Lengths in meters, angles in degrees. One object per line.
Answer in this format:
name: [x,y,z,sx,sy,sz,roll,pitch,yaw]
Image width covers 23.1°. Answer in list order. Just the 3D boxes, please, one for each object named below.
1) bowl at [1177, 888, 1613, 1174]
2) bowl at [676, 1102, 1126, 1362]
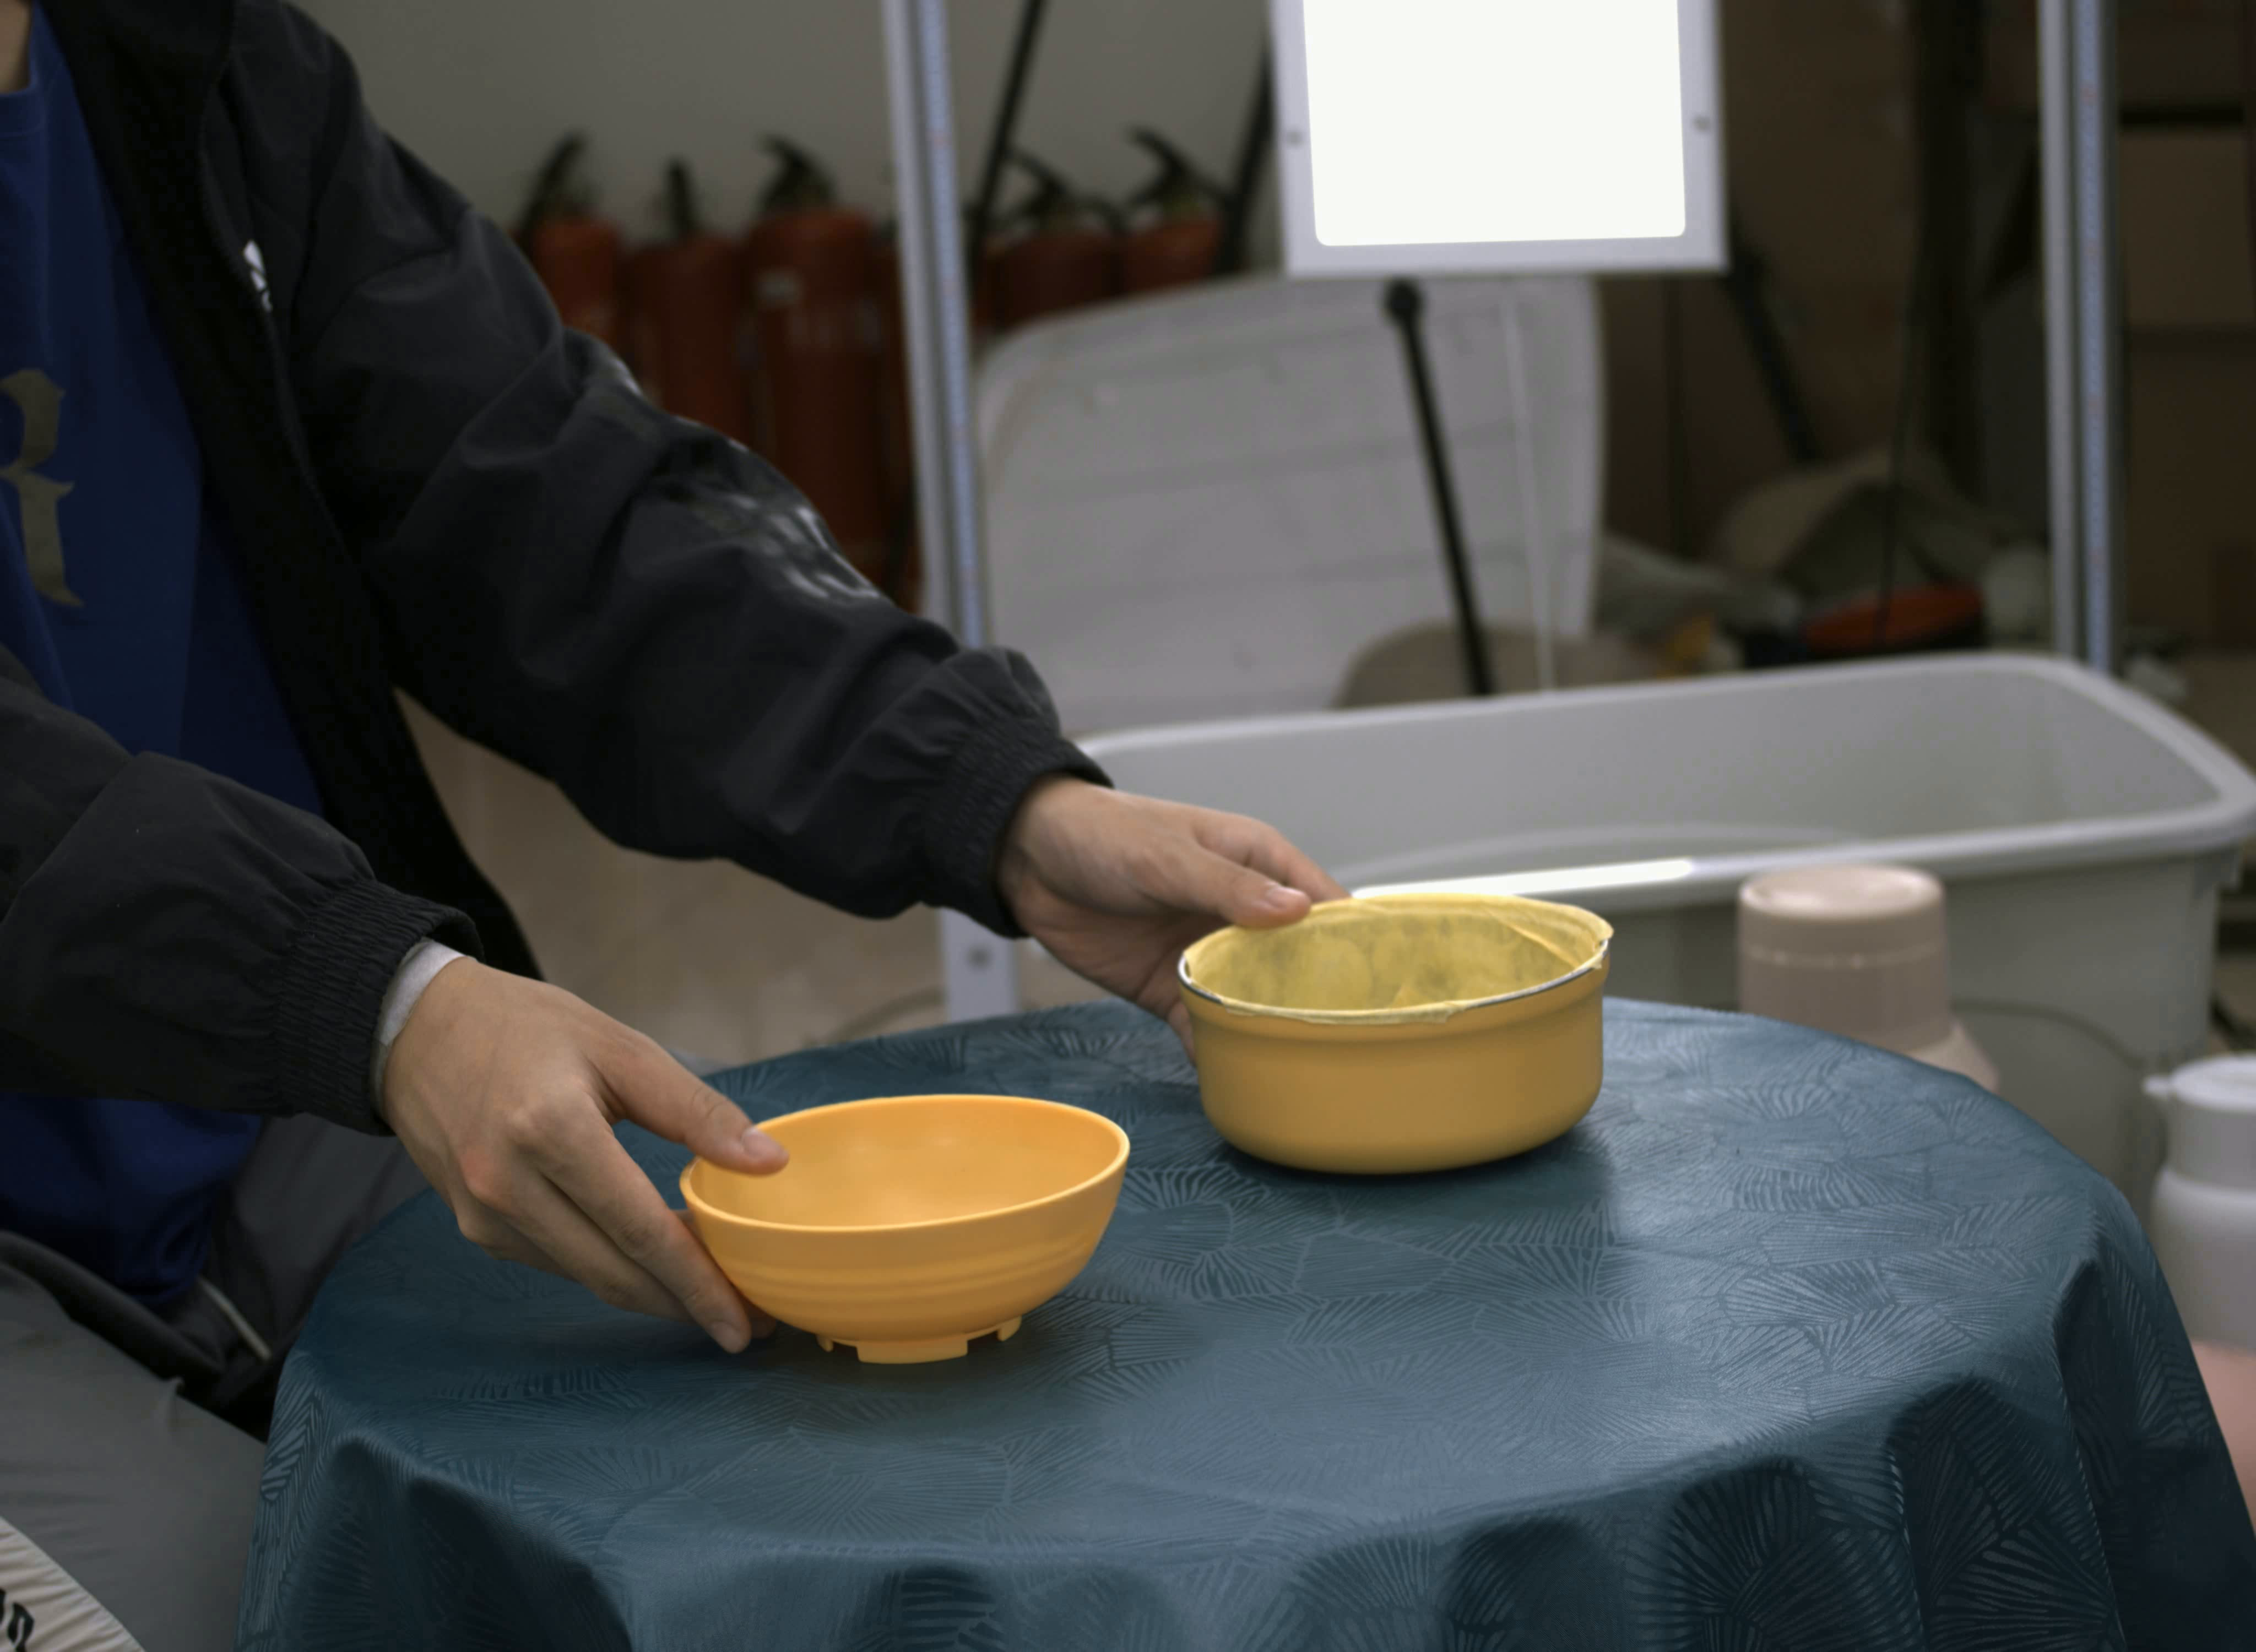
bowl: [0.100,0.071,1.941,0.154,0.074,0.177,-5,14,13]
bowl: [-0.072,0.134,1.768,0.145,0.060,0.145,-3,12,-1]
